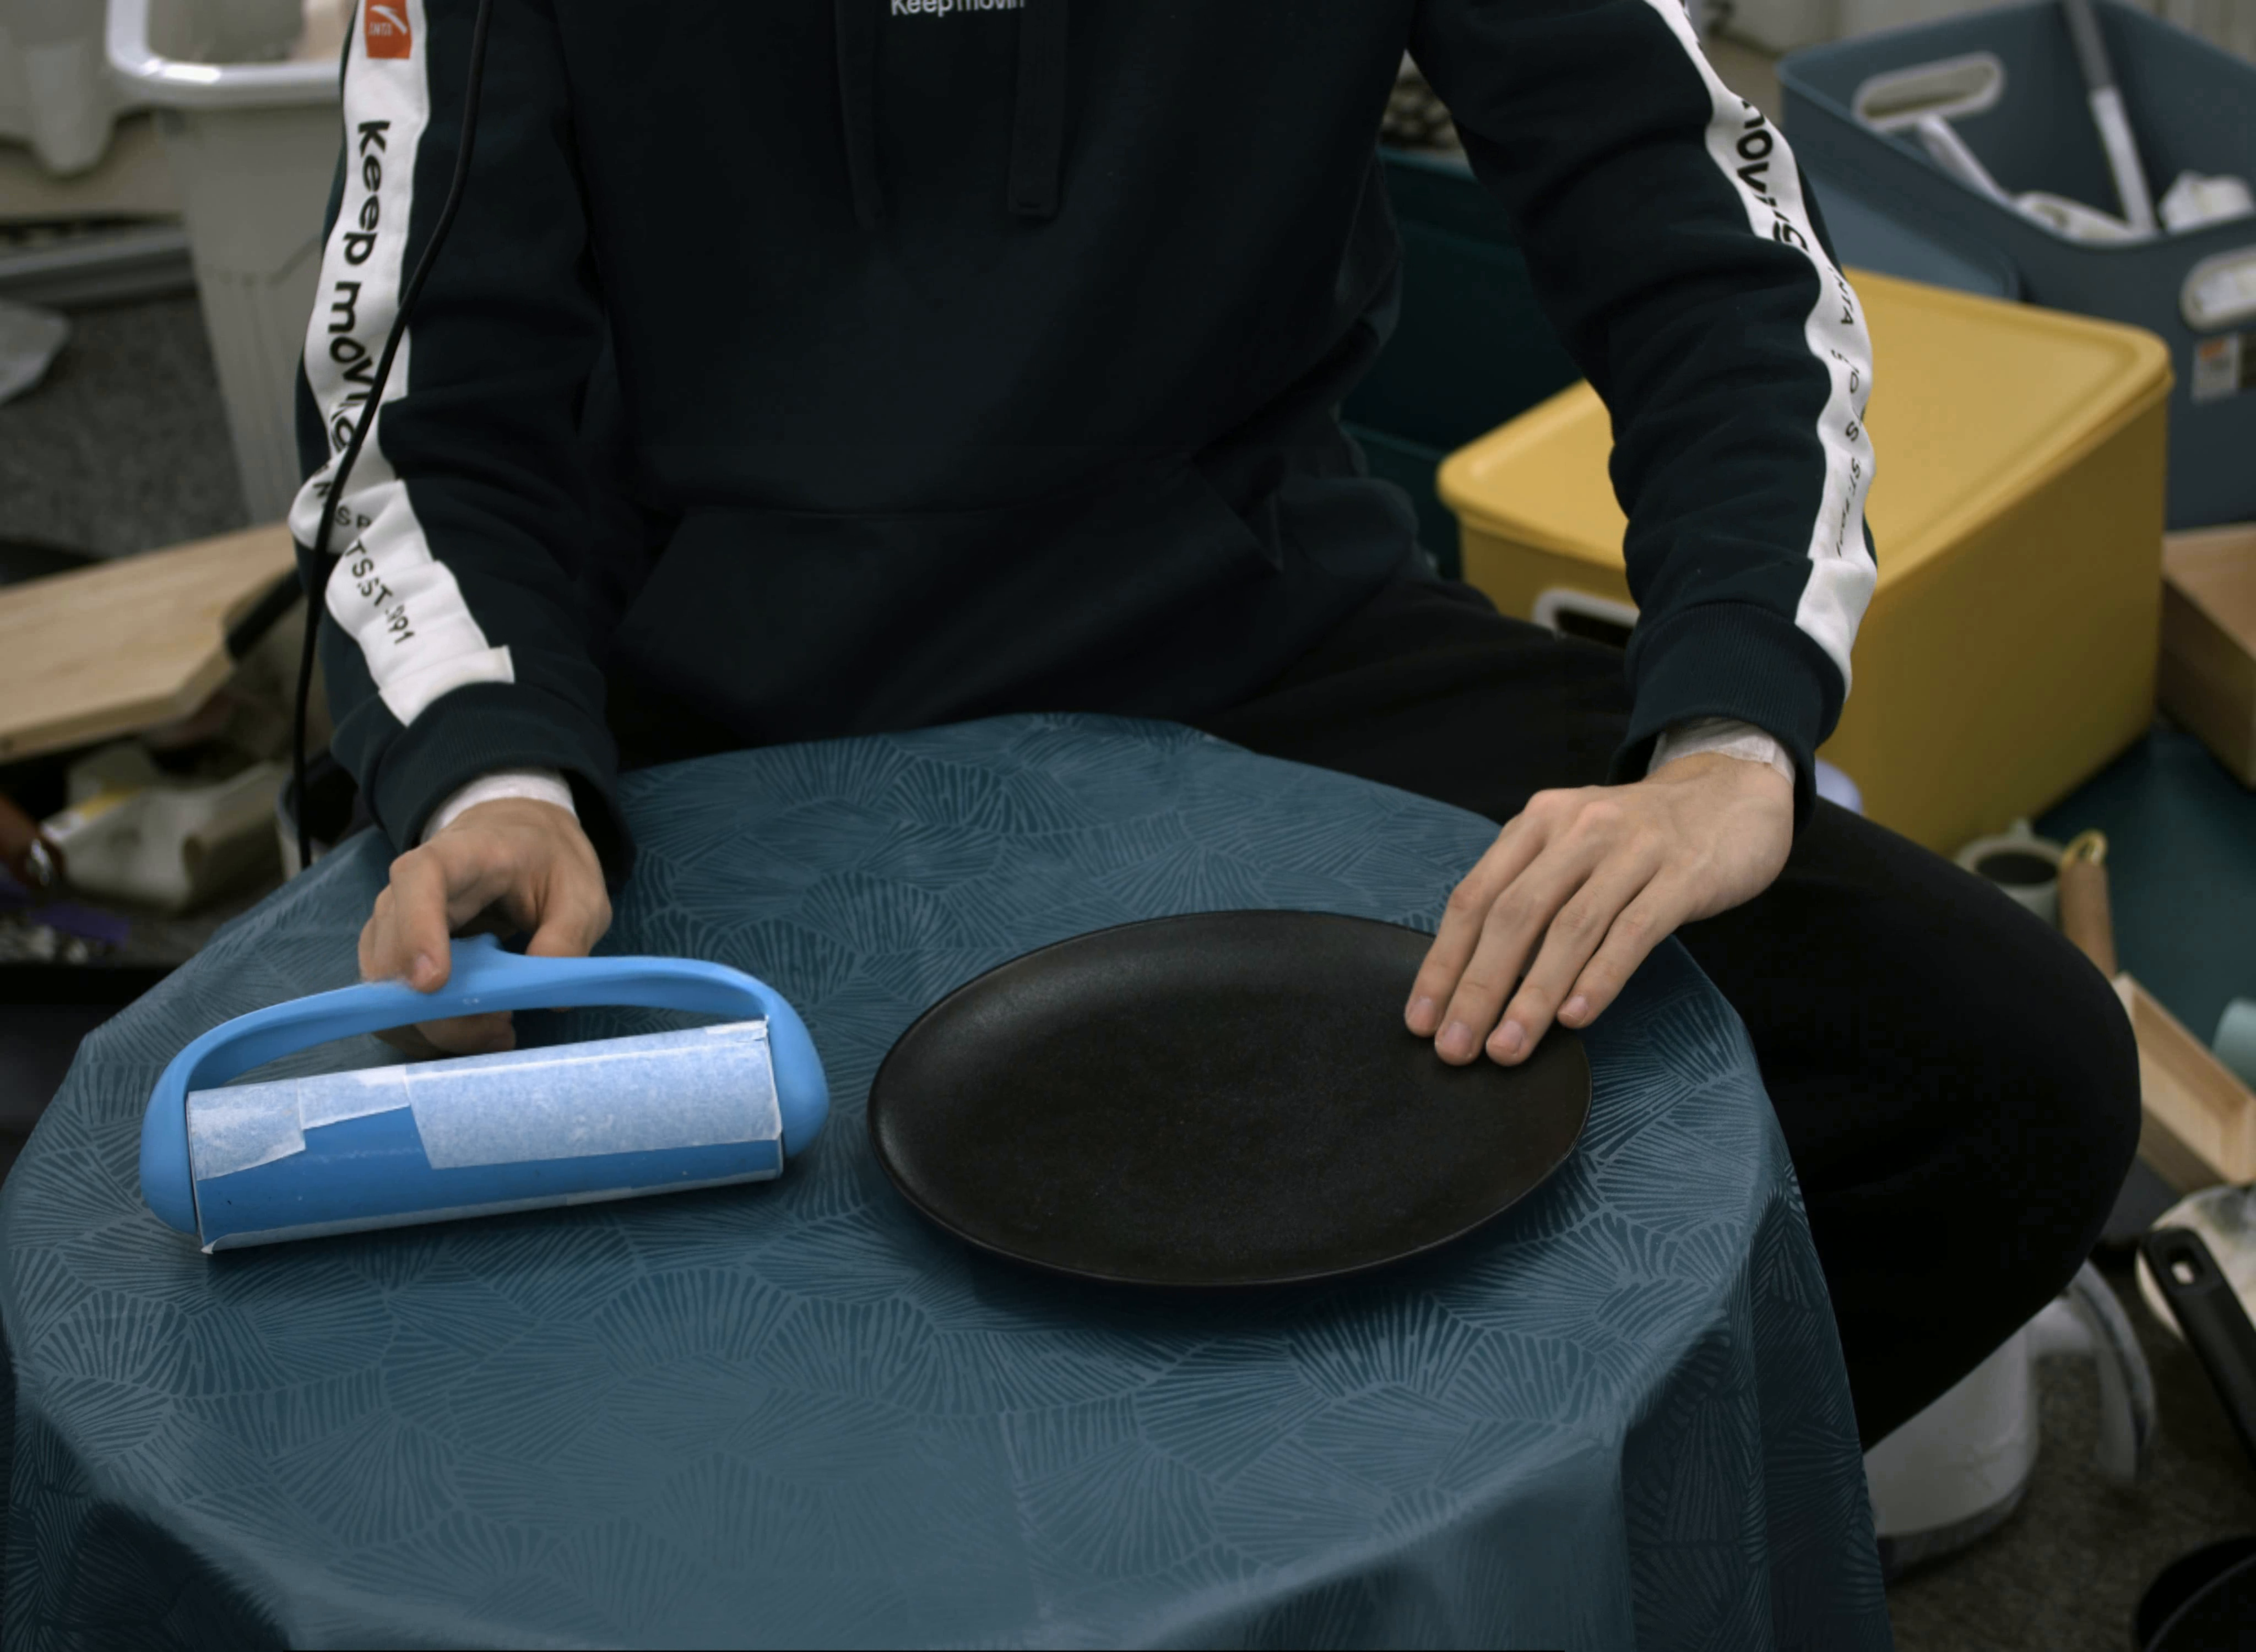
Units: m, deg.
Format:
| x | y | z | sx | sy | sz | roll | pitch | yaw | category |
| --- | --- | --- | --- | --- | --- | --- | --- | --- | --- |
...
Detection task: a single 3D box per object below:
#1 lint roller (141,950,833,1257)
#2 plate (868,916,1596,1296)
| x | y | z | sx | sy | sz | roll | pitch | yaw | category |
| --- | --- | --- | --- | --- | --- | --- | --- | --- | --- |
| -0.224 | 0.077 | 1.909 | 0.229 | 0.067 | 0.182 | -9 | 27 | -10 | lint roller |
| 0.035 | 0.098 | 1.878 | 0.243 | 0.023 | 0.248 | -2 | 27 | 1 | plate |
